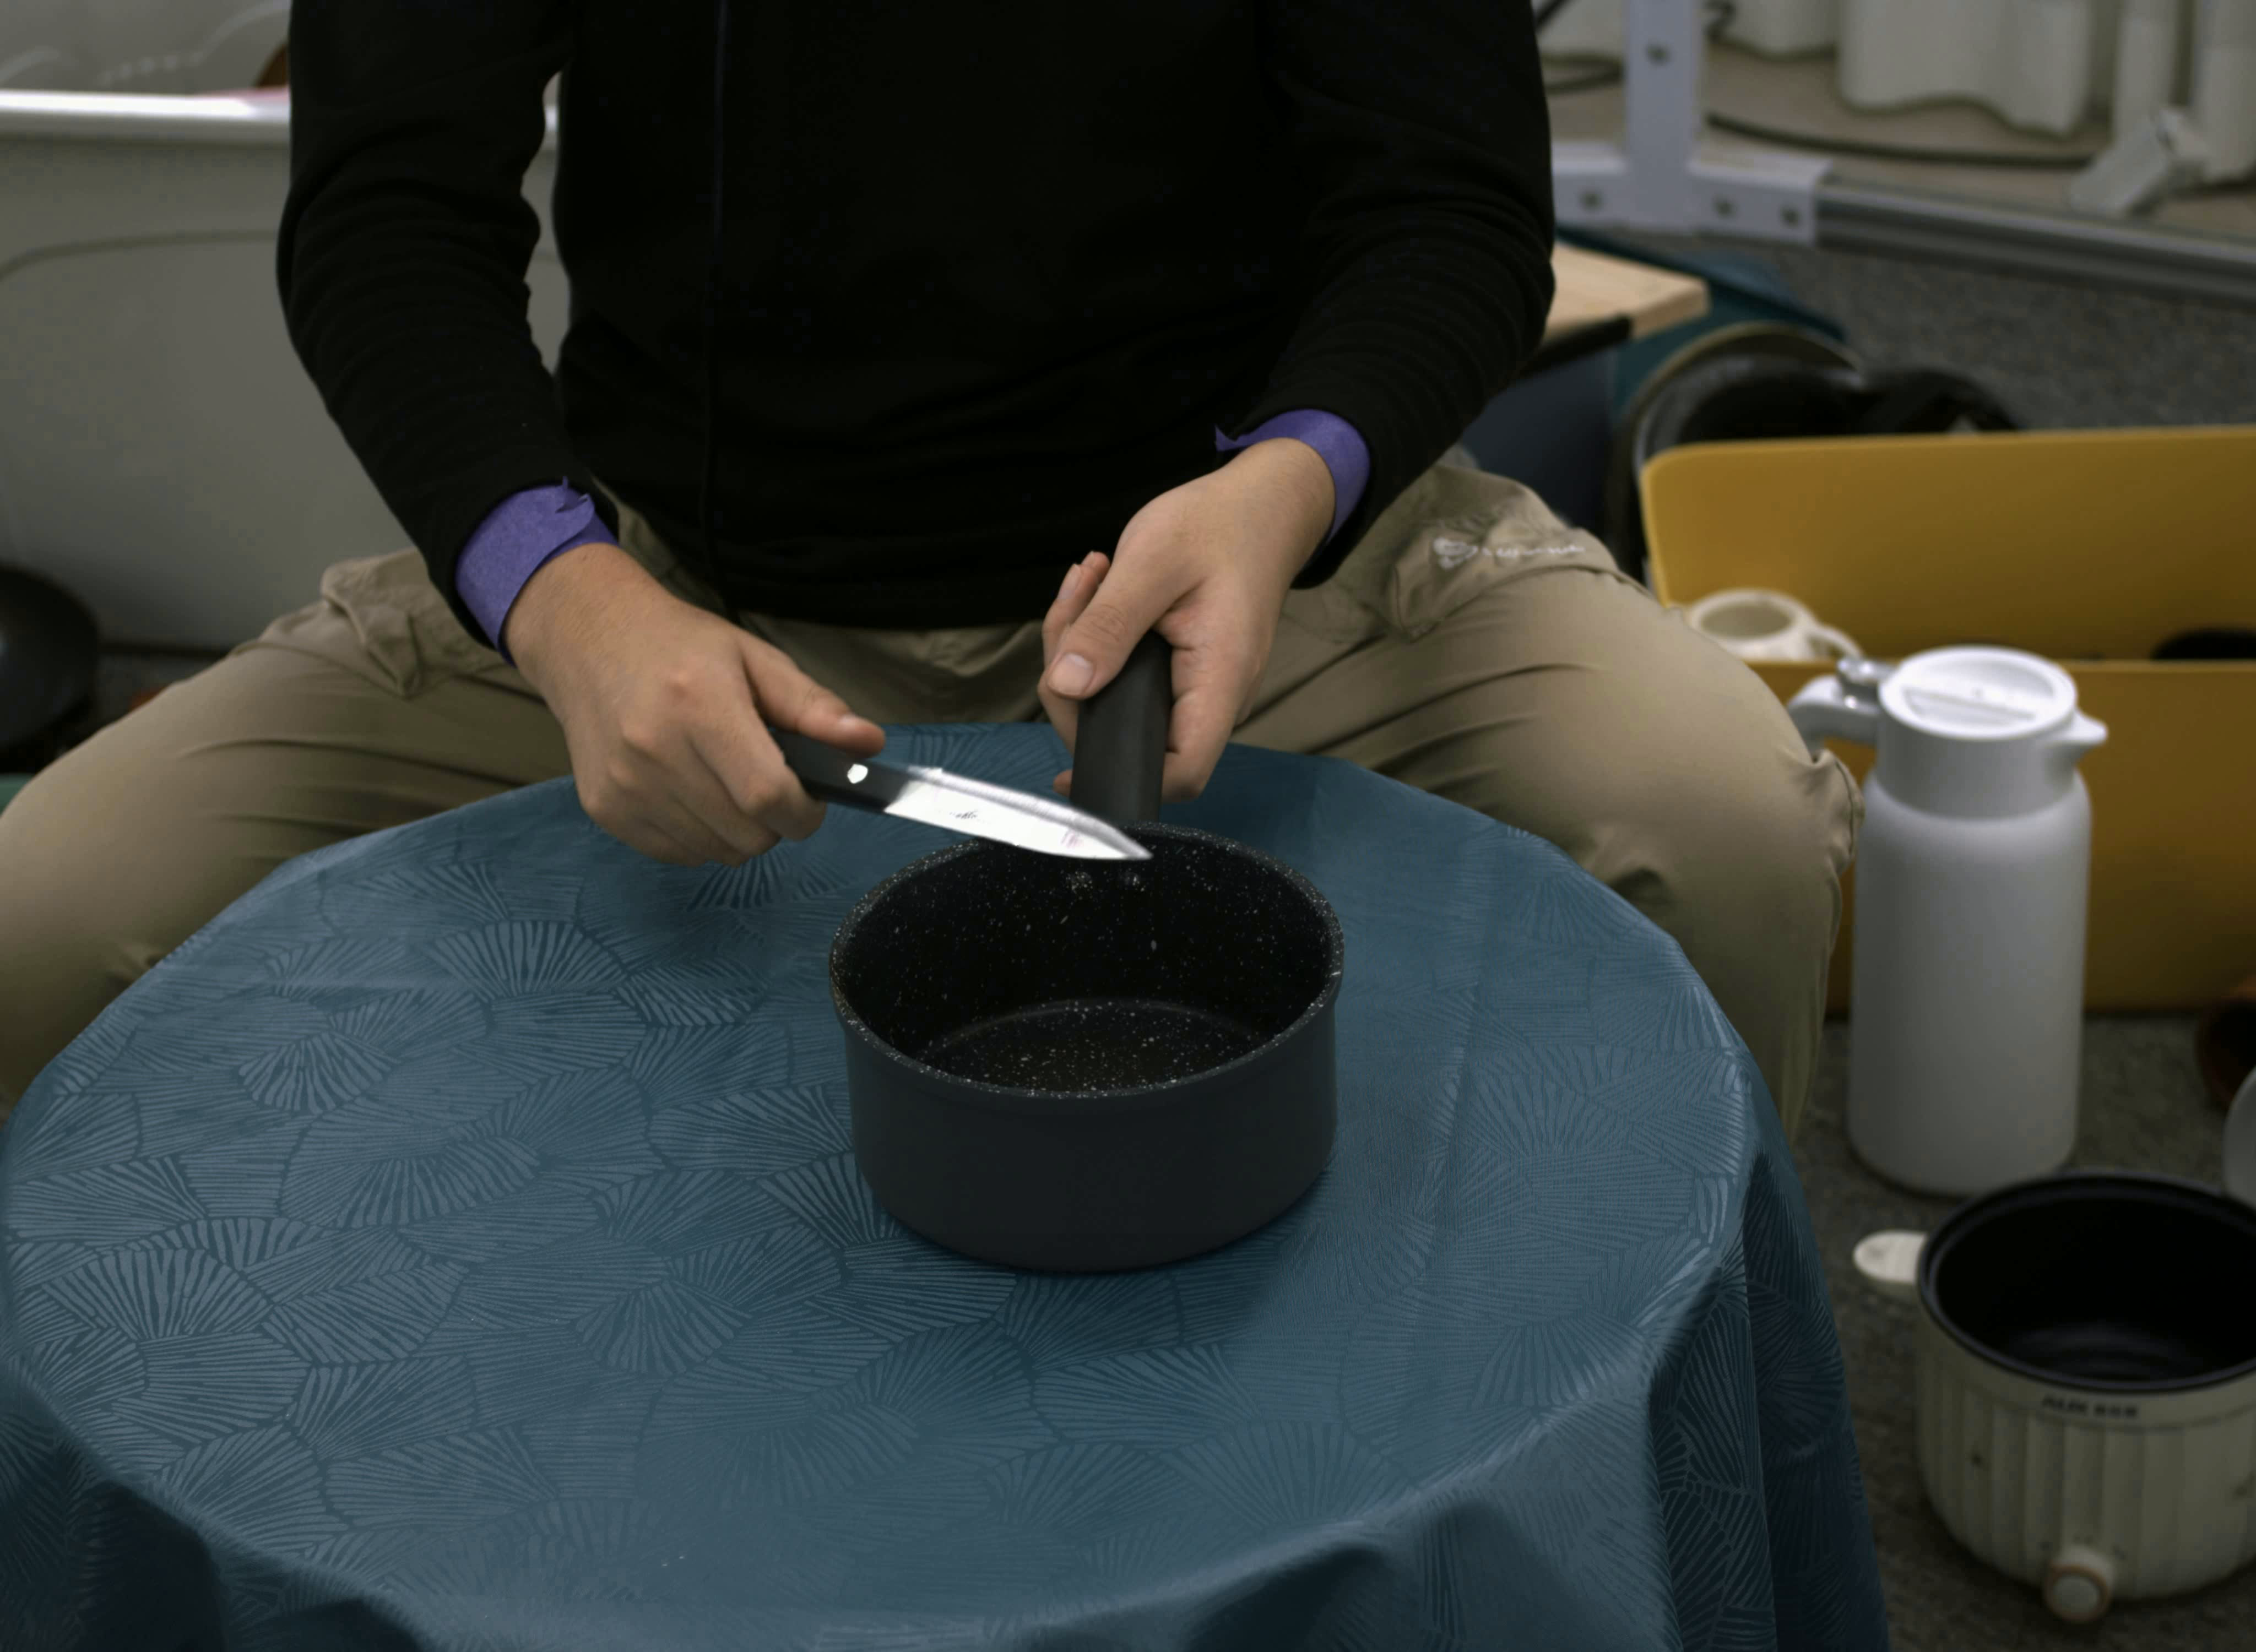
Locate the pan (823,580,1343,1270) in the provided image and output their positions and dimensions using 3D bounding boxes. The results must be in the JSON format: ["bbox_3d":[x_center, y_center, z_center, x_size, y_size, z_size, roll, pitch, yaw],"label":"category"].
[{"bbox_3d":[-0.004,0.030,1.932,0.171,0.085,0.334,2,31,7],"label":"pan"}]

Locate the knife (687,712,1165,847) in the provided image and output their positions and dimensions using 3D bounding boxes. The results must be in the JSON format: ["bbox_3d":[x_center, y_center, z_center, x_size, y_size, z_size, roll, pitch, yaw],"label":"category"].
[{"bbox_3d":[-0.074,-0.012,1.945,0.237,0.016,0.025,13,56,43],"label":"knife"}]
